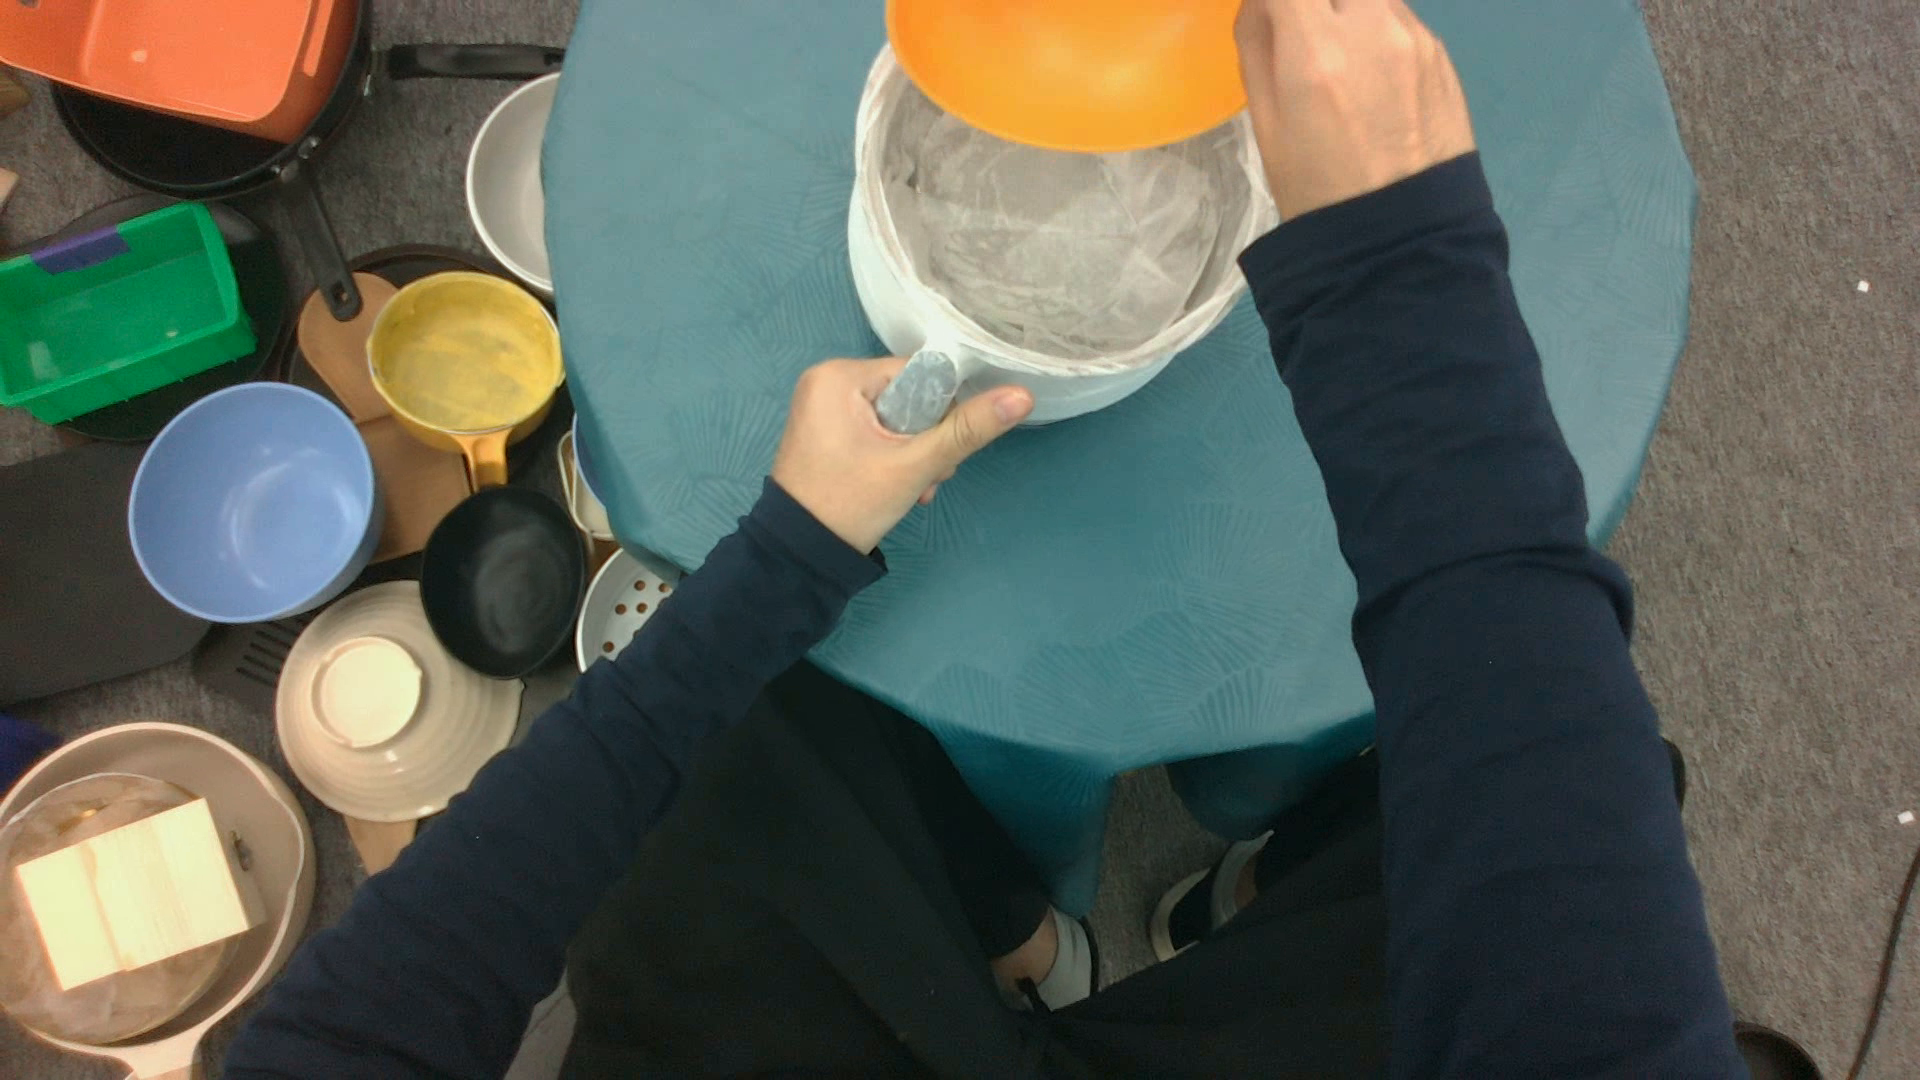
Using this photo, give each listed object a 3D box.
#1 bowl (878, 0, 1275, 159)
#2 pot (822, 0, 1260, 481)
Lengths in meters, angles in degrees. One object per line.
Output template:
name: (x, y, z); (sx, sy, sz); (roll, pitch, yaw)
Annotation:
bowl: (0.045, -0.206, 0.507); (0.145, 0.145, 0.060); (8, 72, -1)
pot: (0.016, -0.131, 0.624); (0.179, 0.136, 0.234); (33, 83, -4)
